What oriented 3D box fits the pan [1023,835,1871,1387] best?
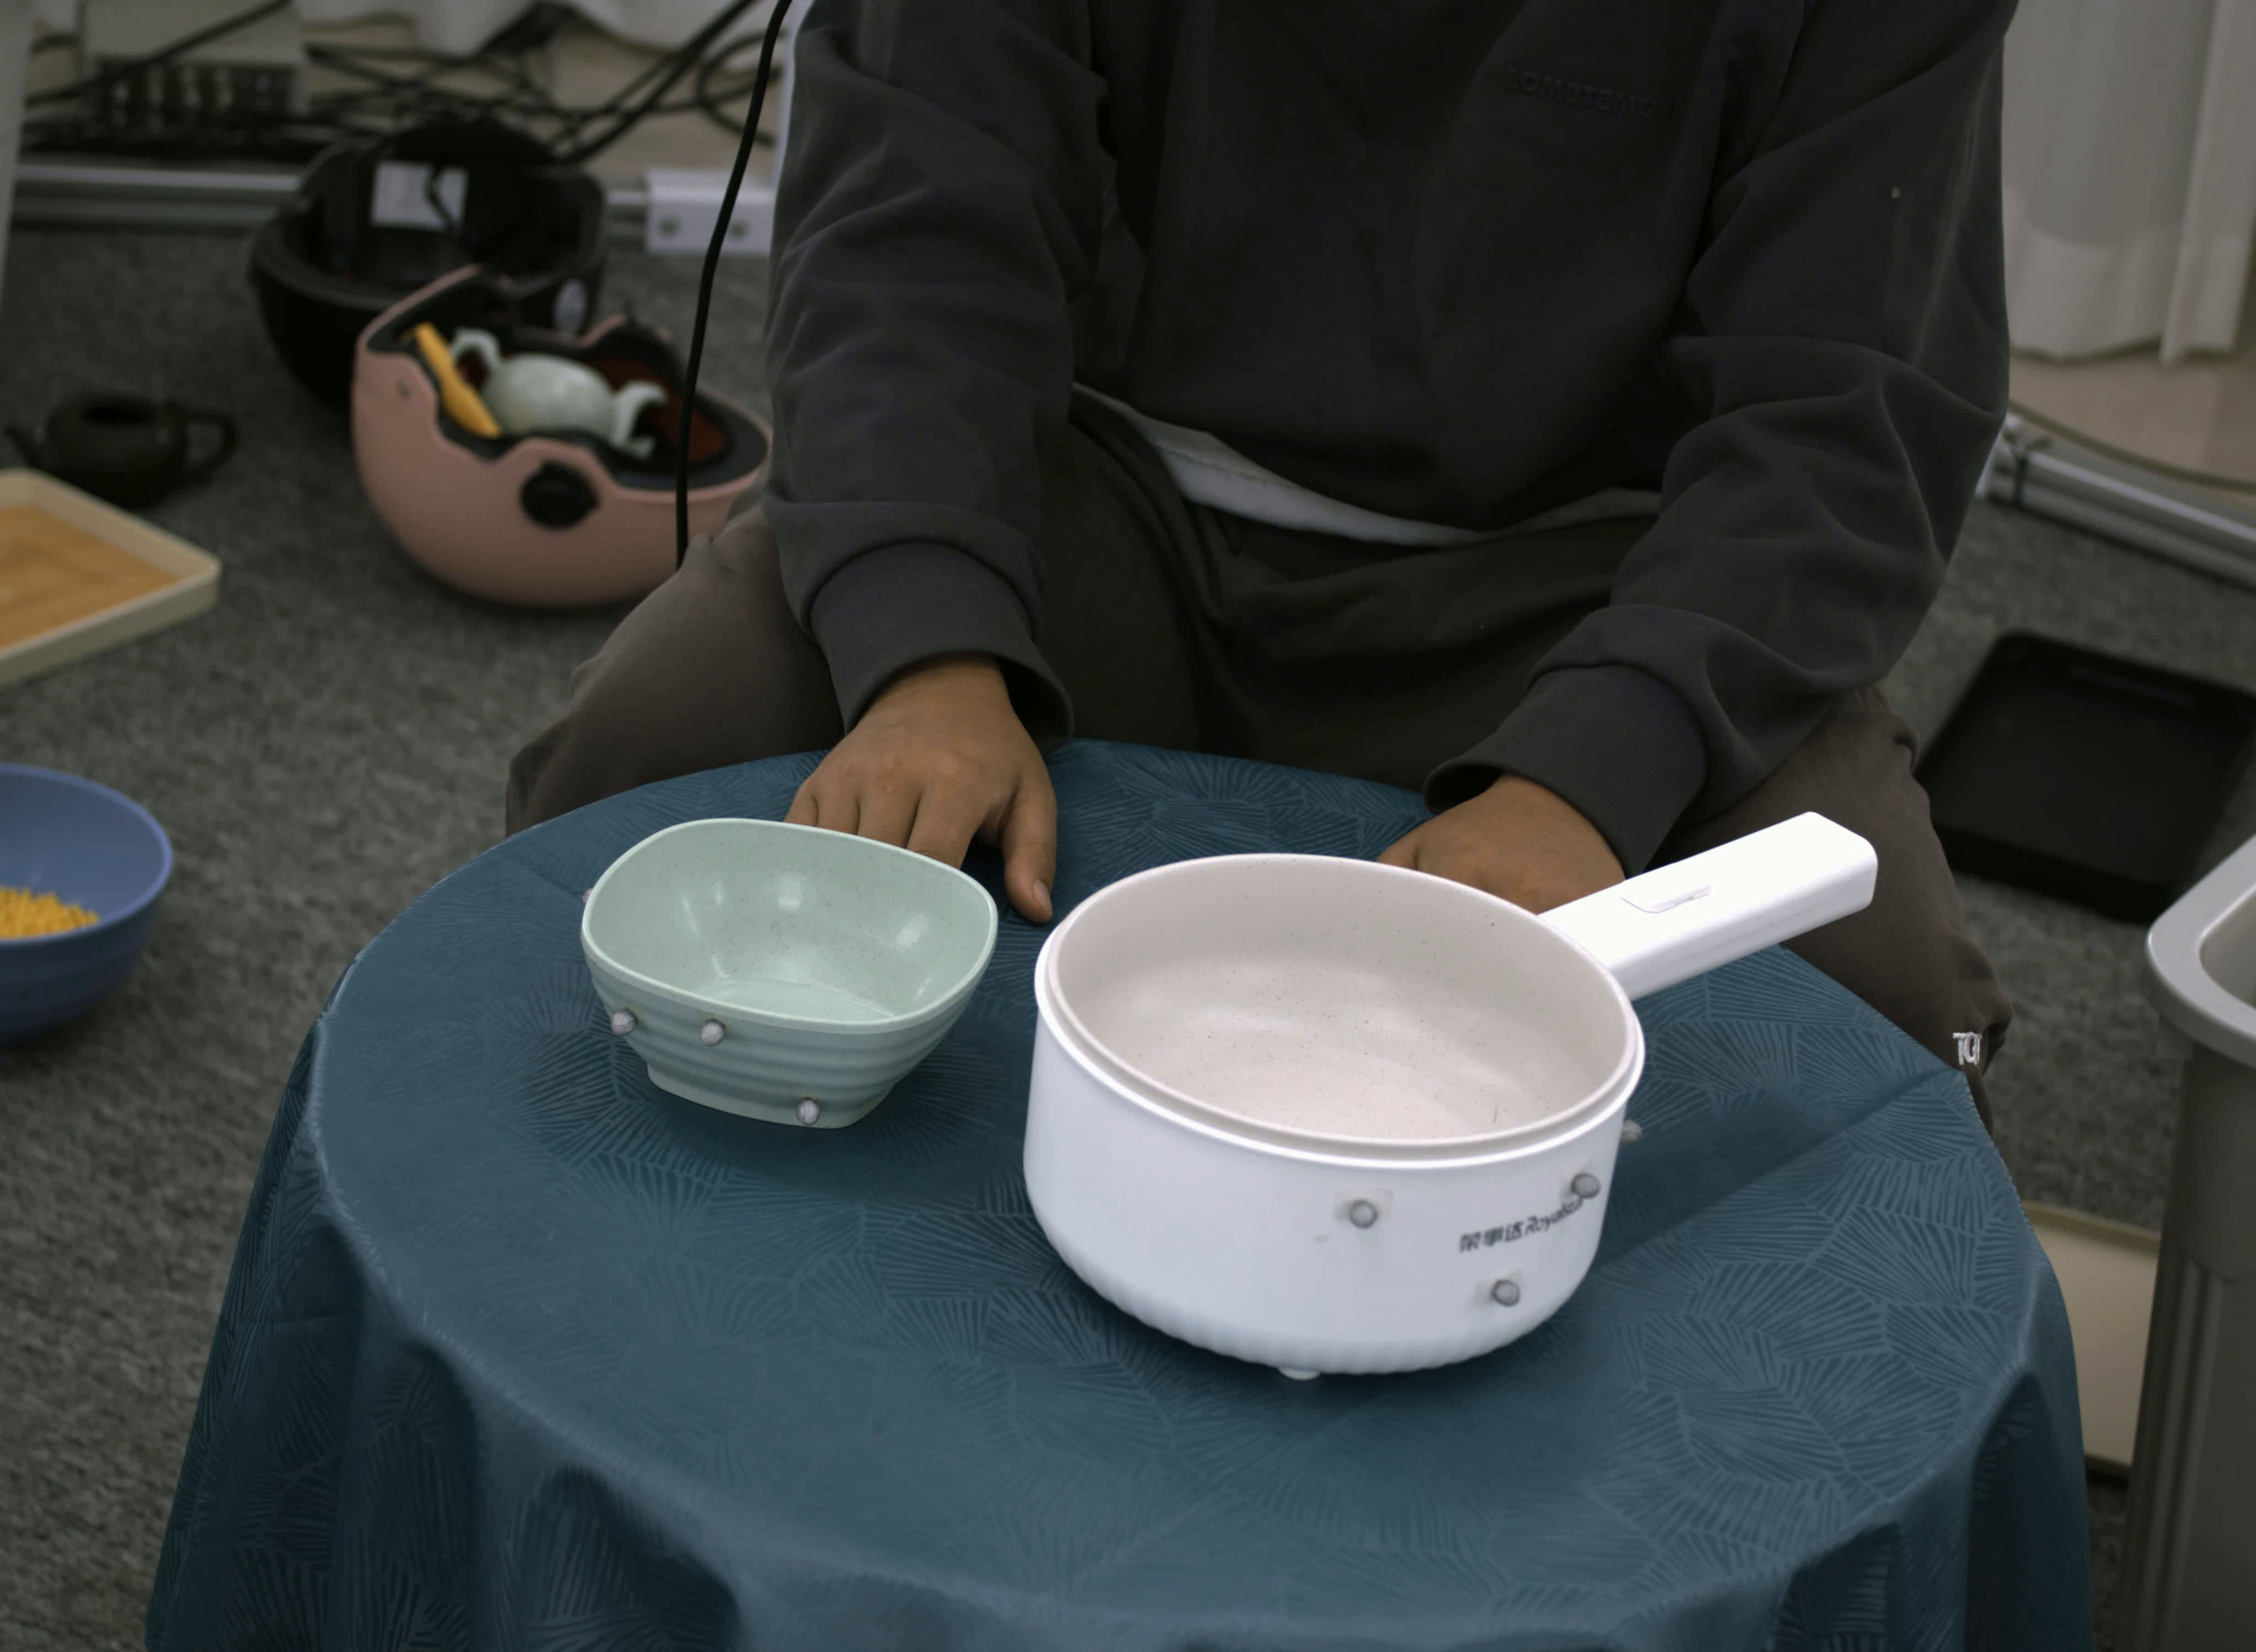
[{"bbox_3d":[0.119,0.087,1.811,0.353,0.102,0.203,-16,32,-41],"label":"pan"}]

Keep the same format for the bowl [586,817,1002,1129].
[{"bbox_3d":[-0.117,0.057,1.847,0.151,0.058,0.152,4,28,-3],"label":"bowl"}]
